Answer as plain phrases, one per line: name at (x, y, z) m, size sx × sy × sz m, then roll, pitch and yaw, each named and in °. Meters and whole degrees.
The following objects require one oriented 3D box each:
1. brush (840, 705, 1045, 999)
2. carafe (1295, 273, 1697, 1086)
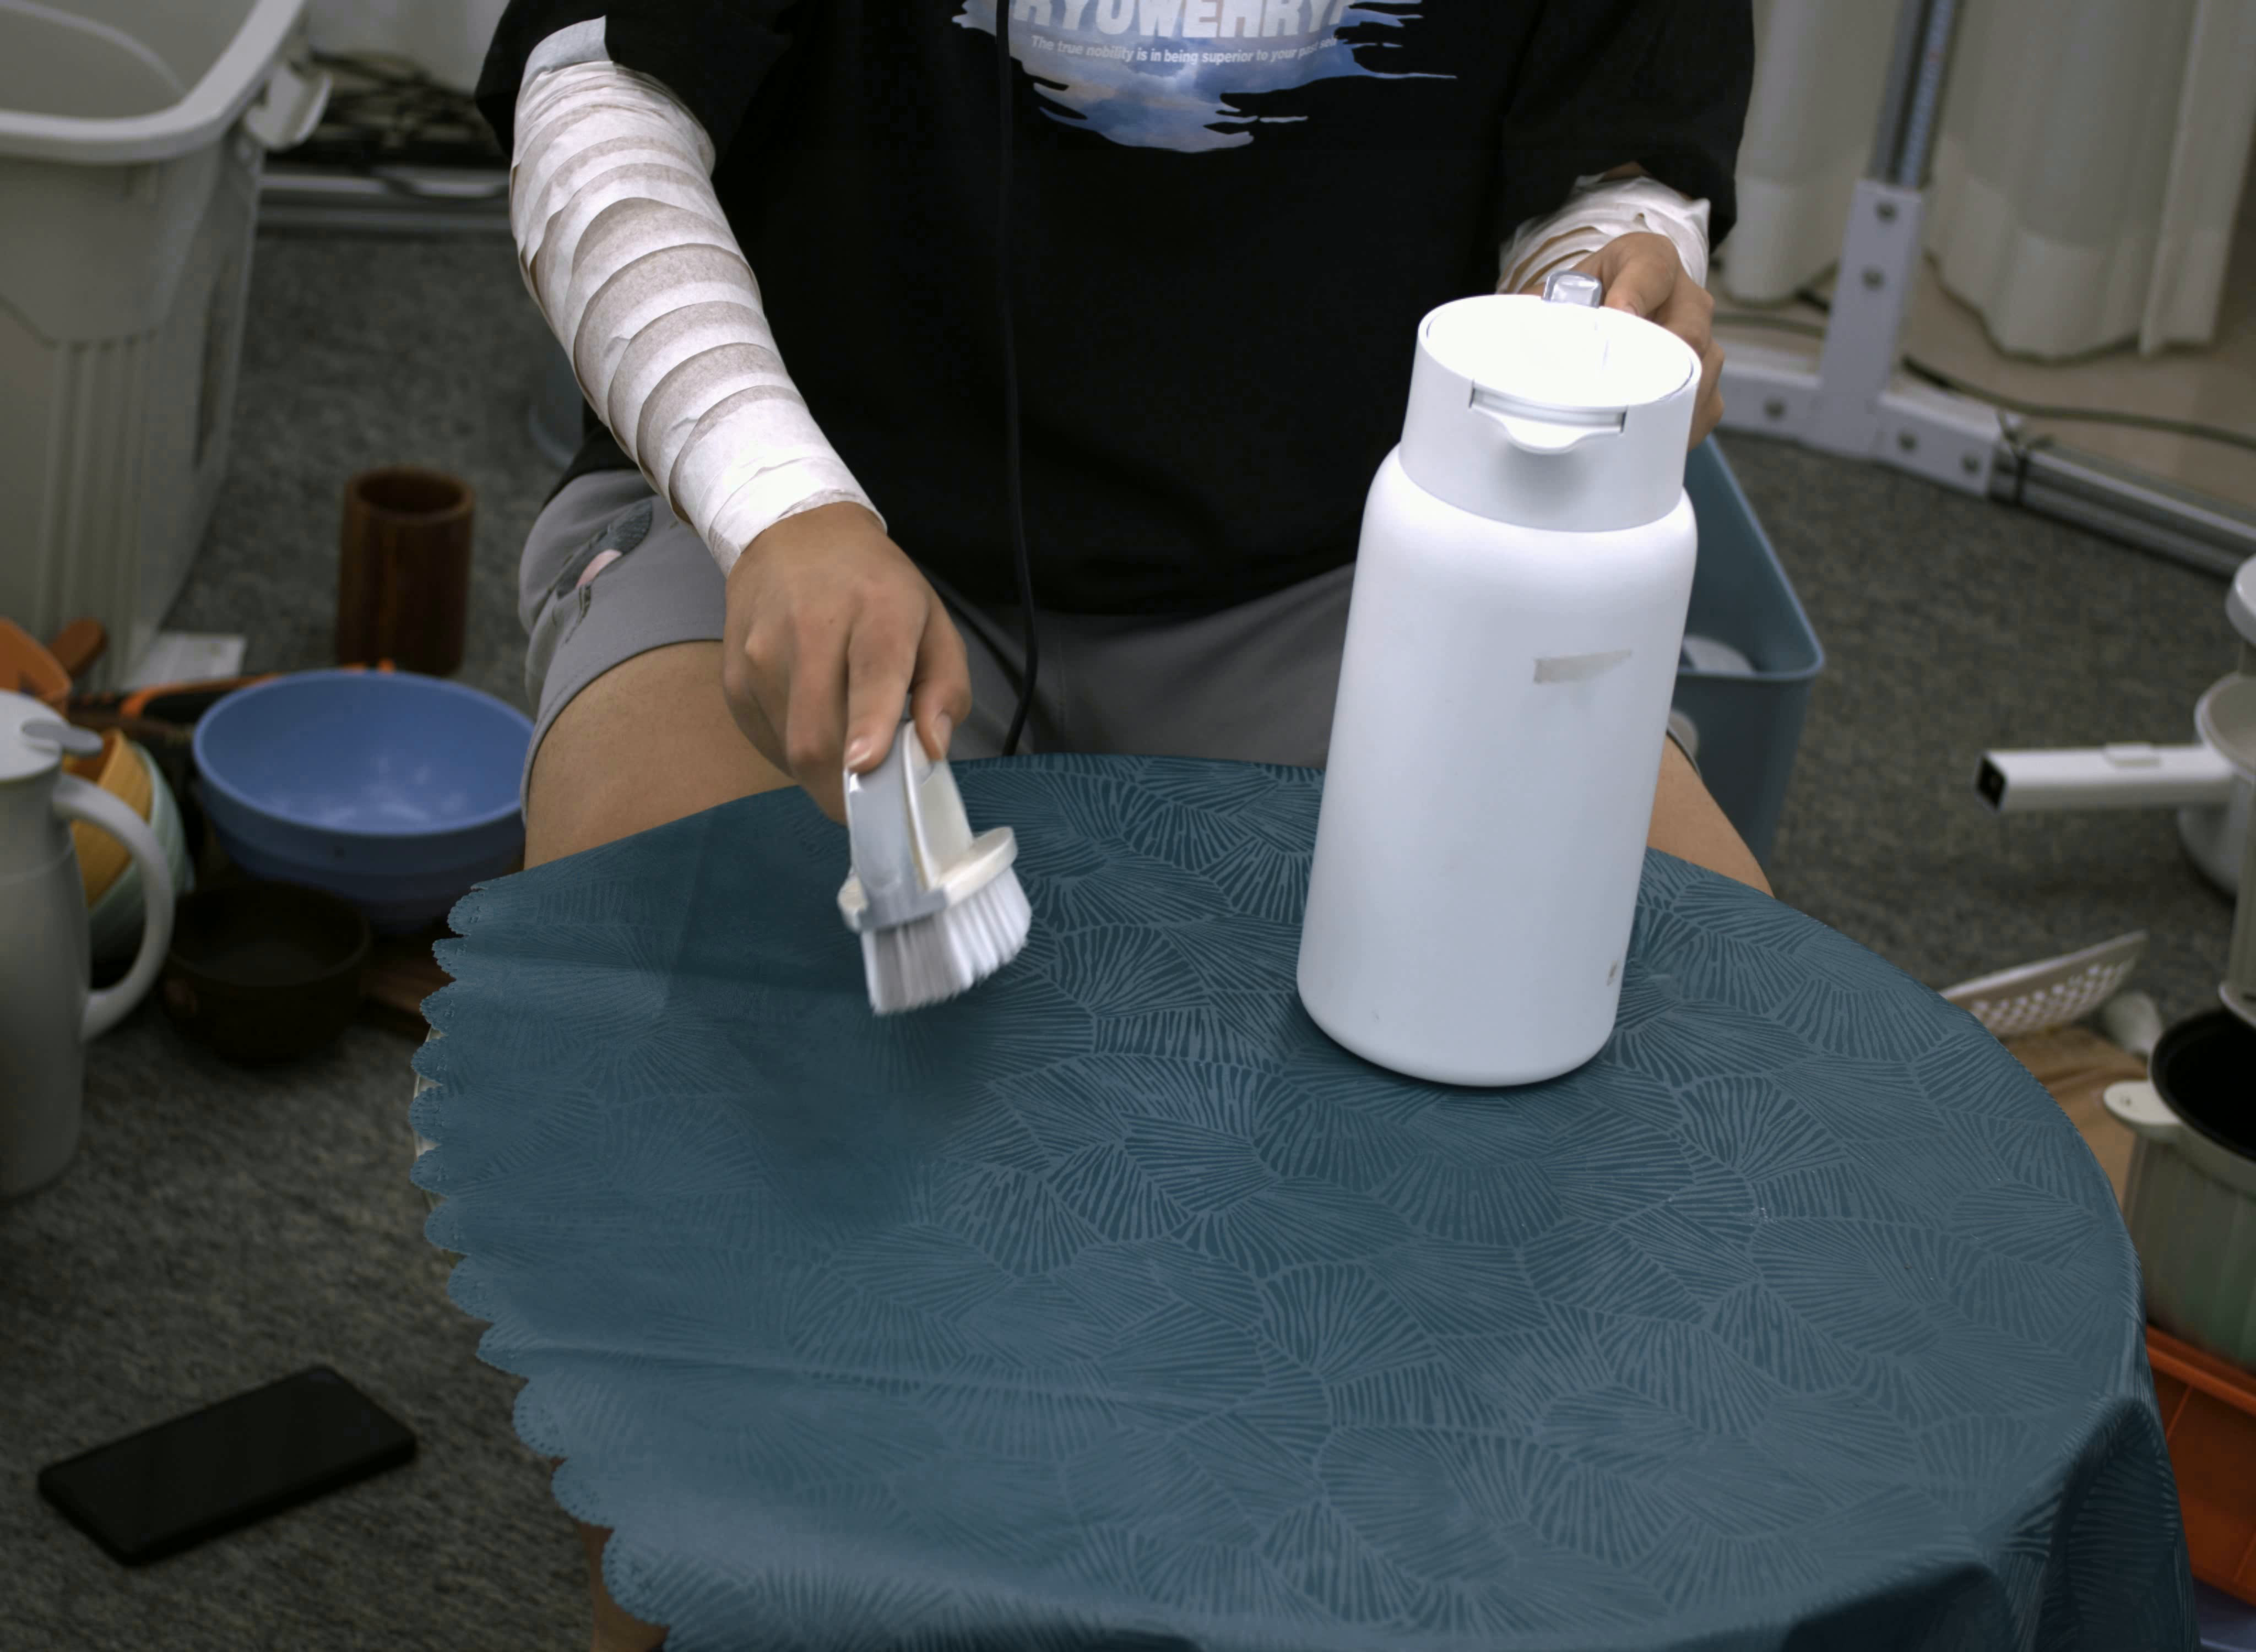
brush at (-0.072, 0.006, 1.849) m, size 0.061 × 0.094 × 0.175 m, roll -20°, pitch 6°, yaw 6°
carafe at (0.133, -0.056, 1.894) m, size 0.123 × 0.268 × 0.173 m, roll 7°, pitch 26°, yaw 5°
